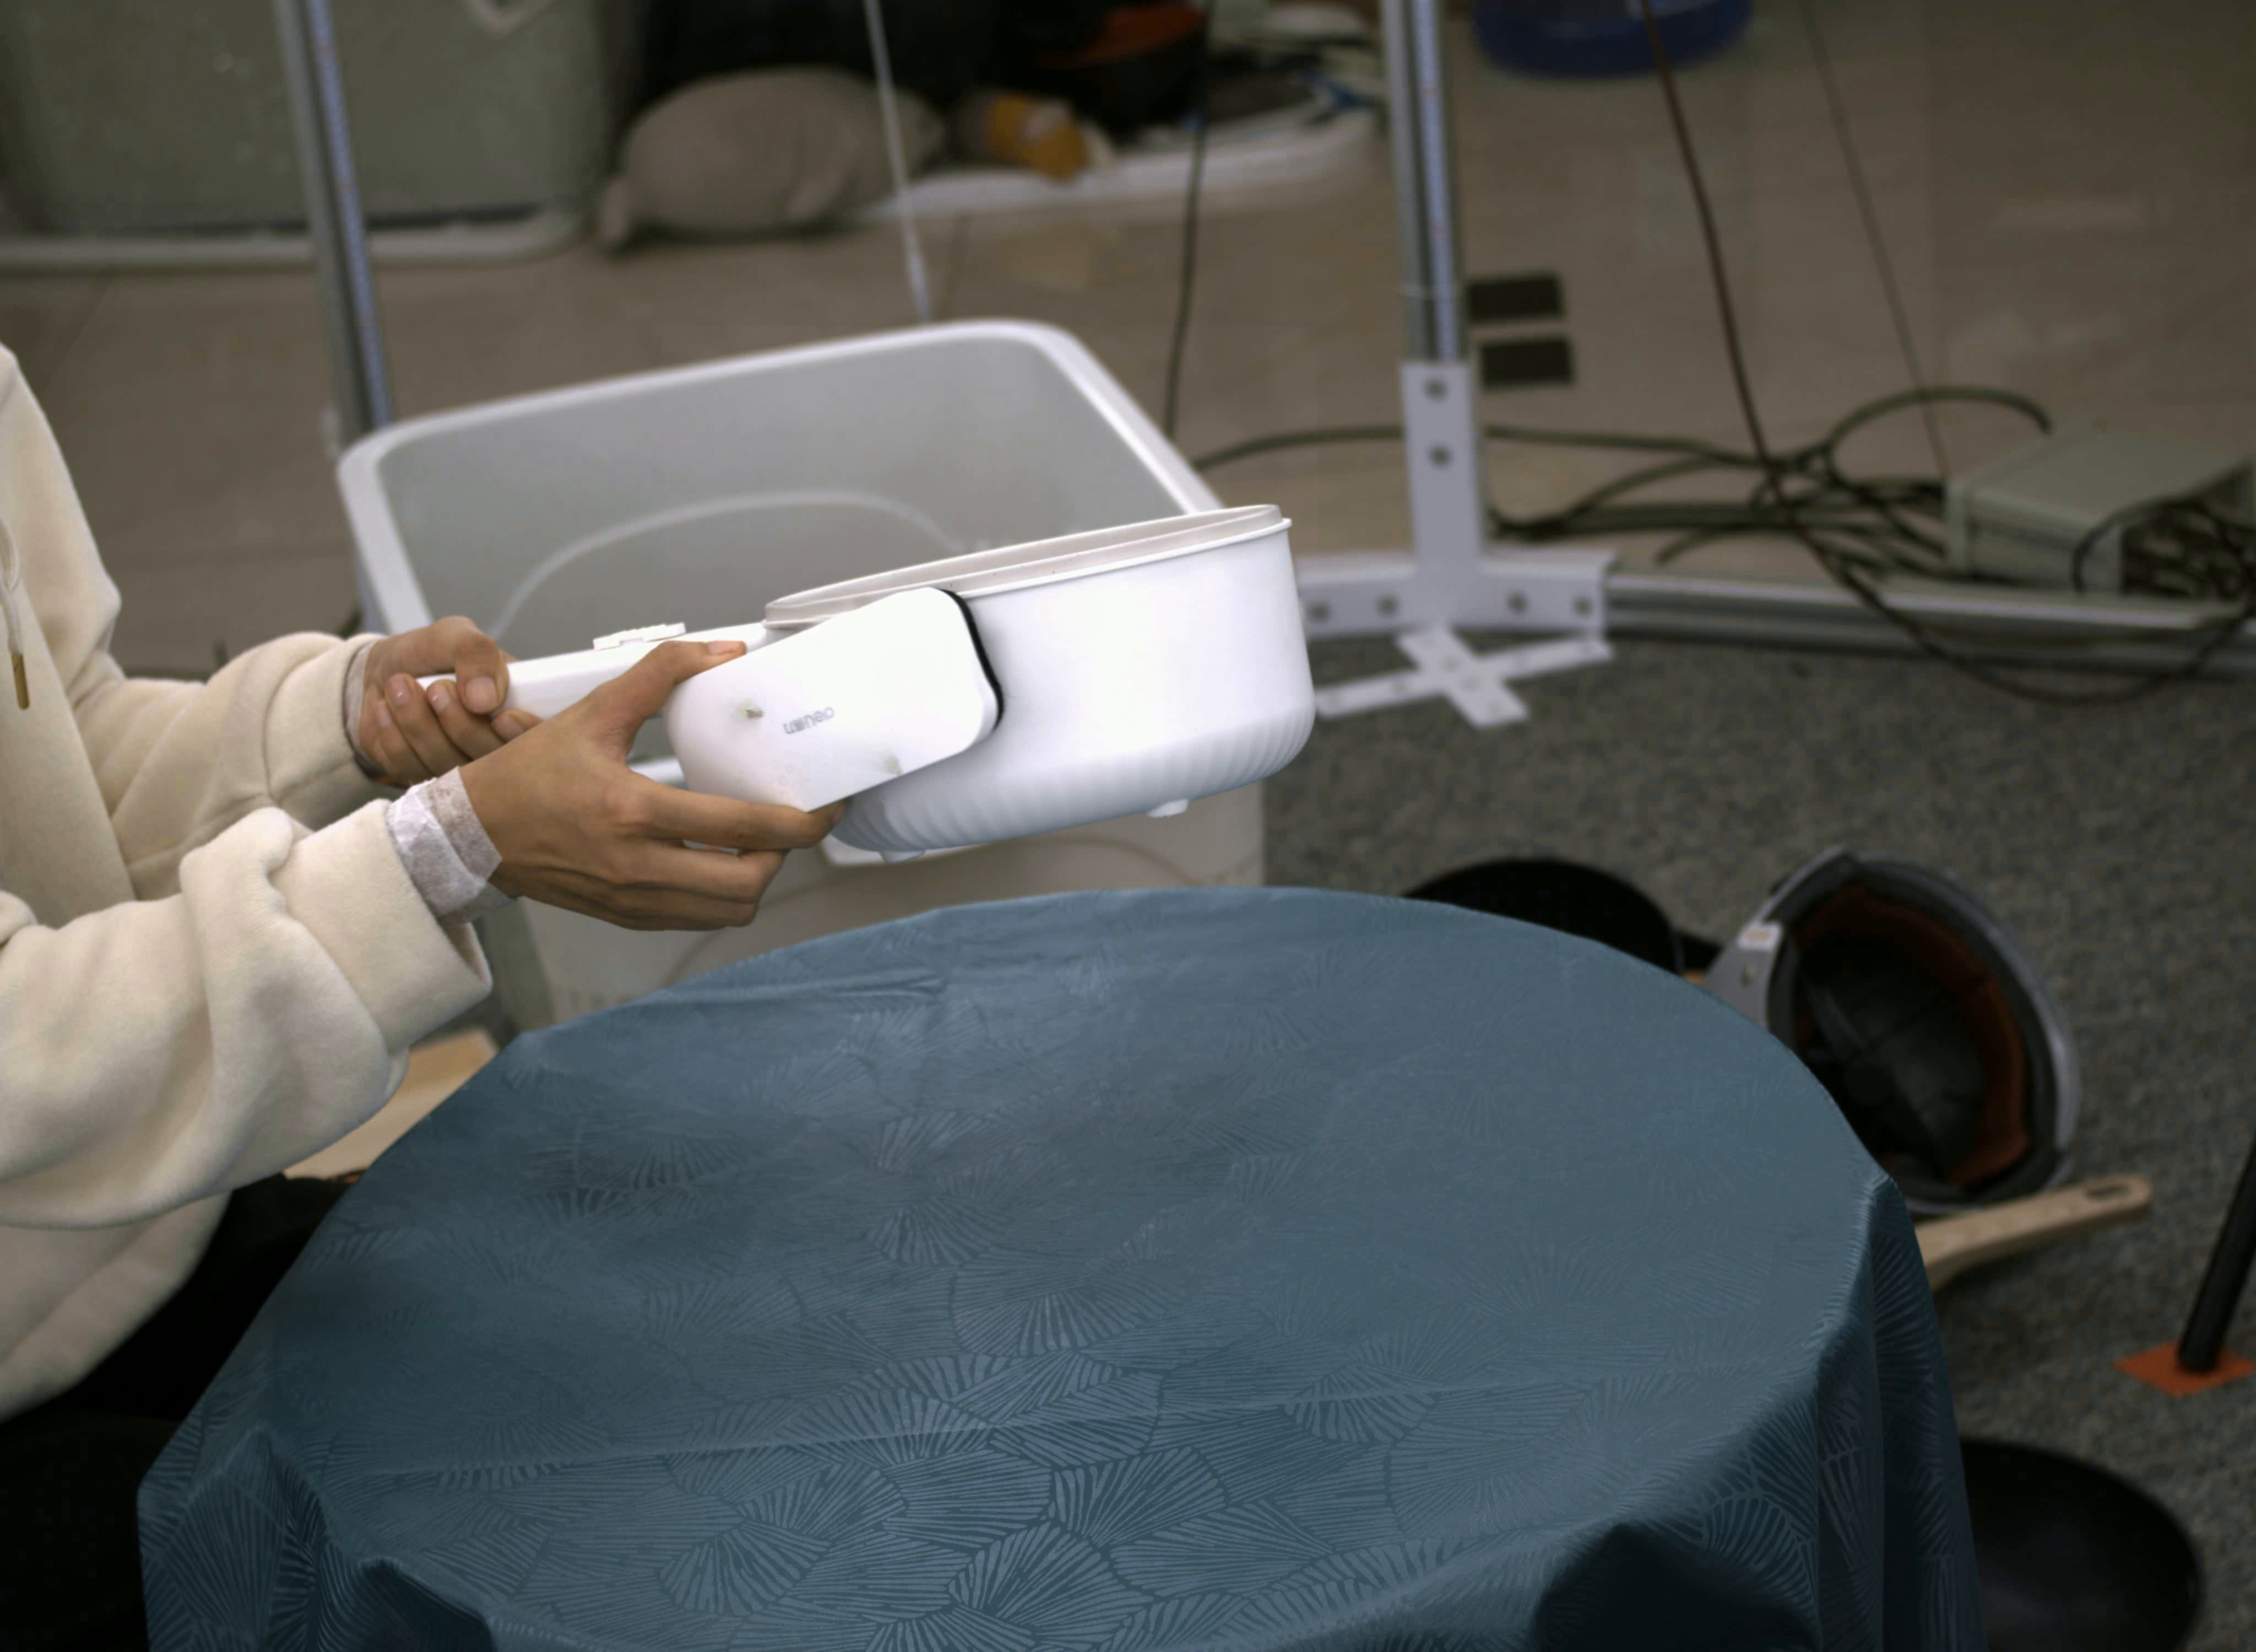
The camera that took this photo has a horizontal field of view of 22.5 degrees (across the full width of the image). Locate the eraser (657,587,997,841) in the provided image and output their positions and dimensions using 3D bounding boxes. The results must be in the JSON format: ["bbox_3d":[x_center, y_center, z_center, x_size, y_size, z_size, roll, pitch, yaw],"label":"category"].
[{"bbox_3d":[-0.109,-0.042,2.021,0.132,0.063,0.034,-20,1,31],"label":"eraser"}]

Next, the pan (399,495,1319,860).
[{"bbox_3d":[-0.101,-0.038,2.127,0.355,0.102,0.200,-12,4,17],"label":"pan"}]
